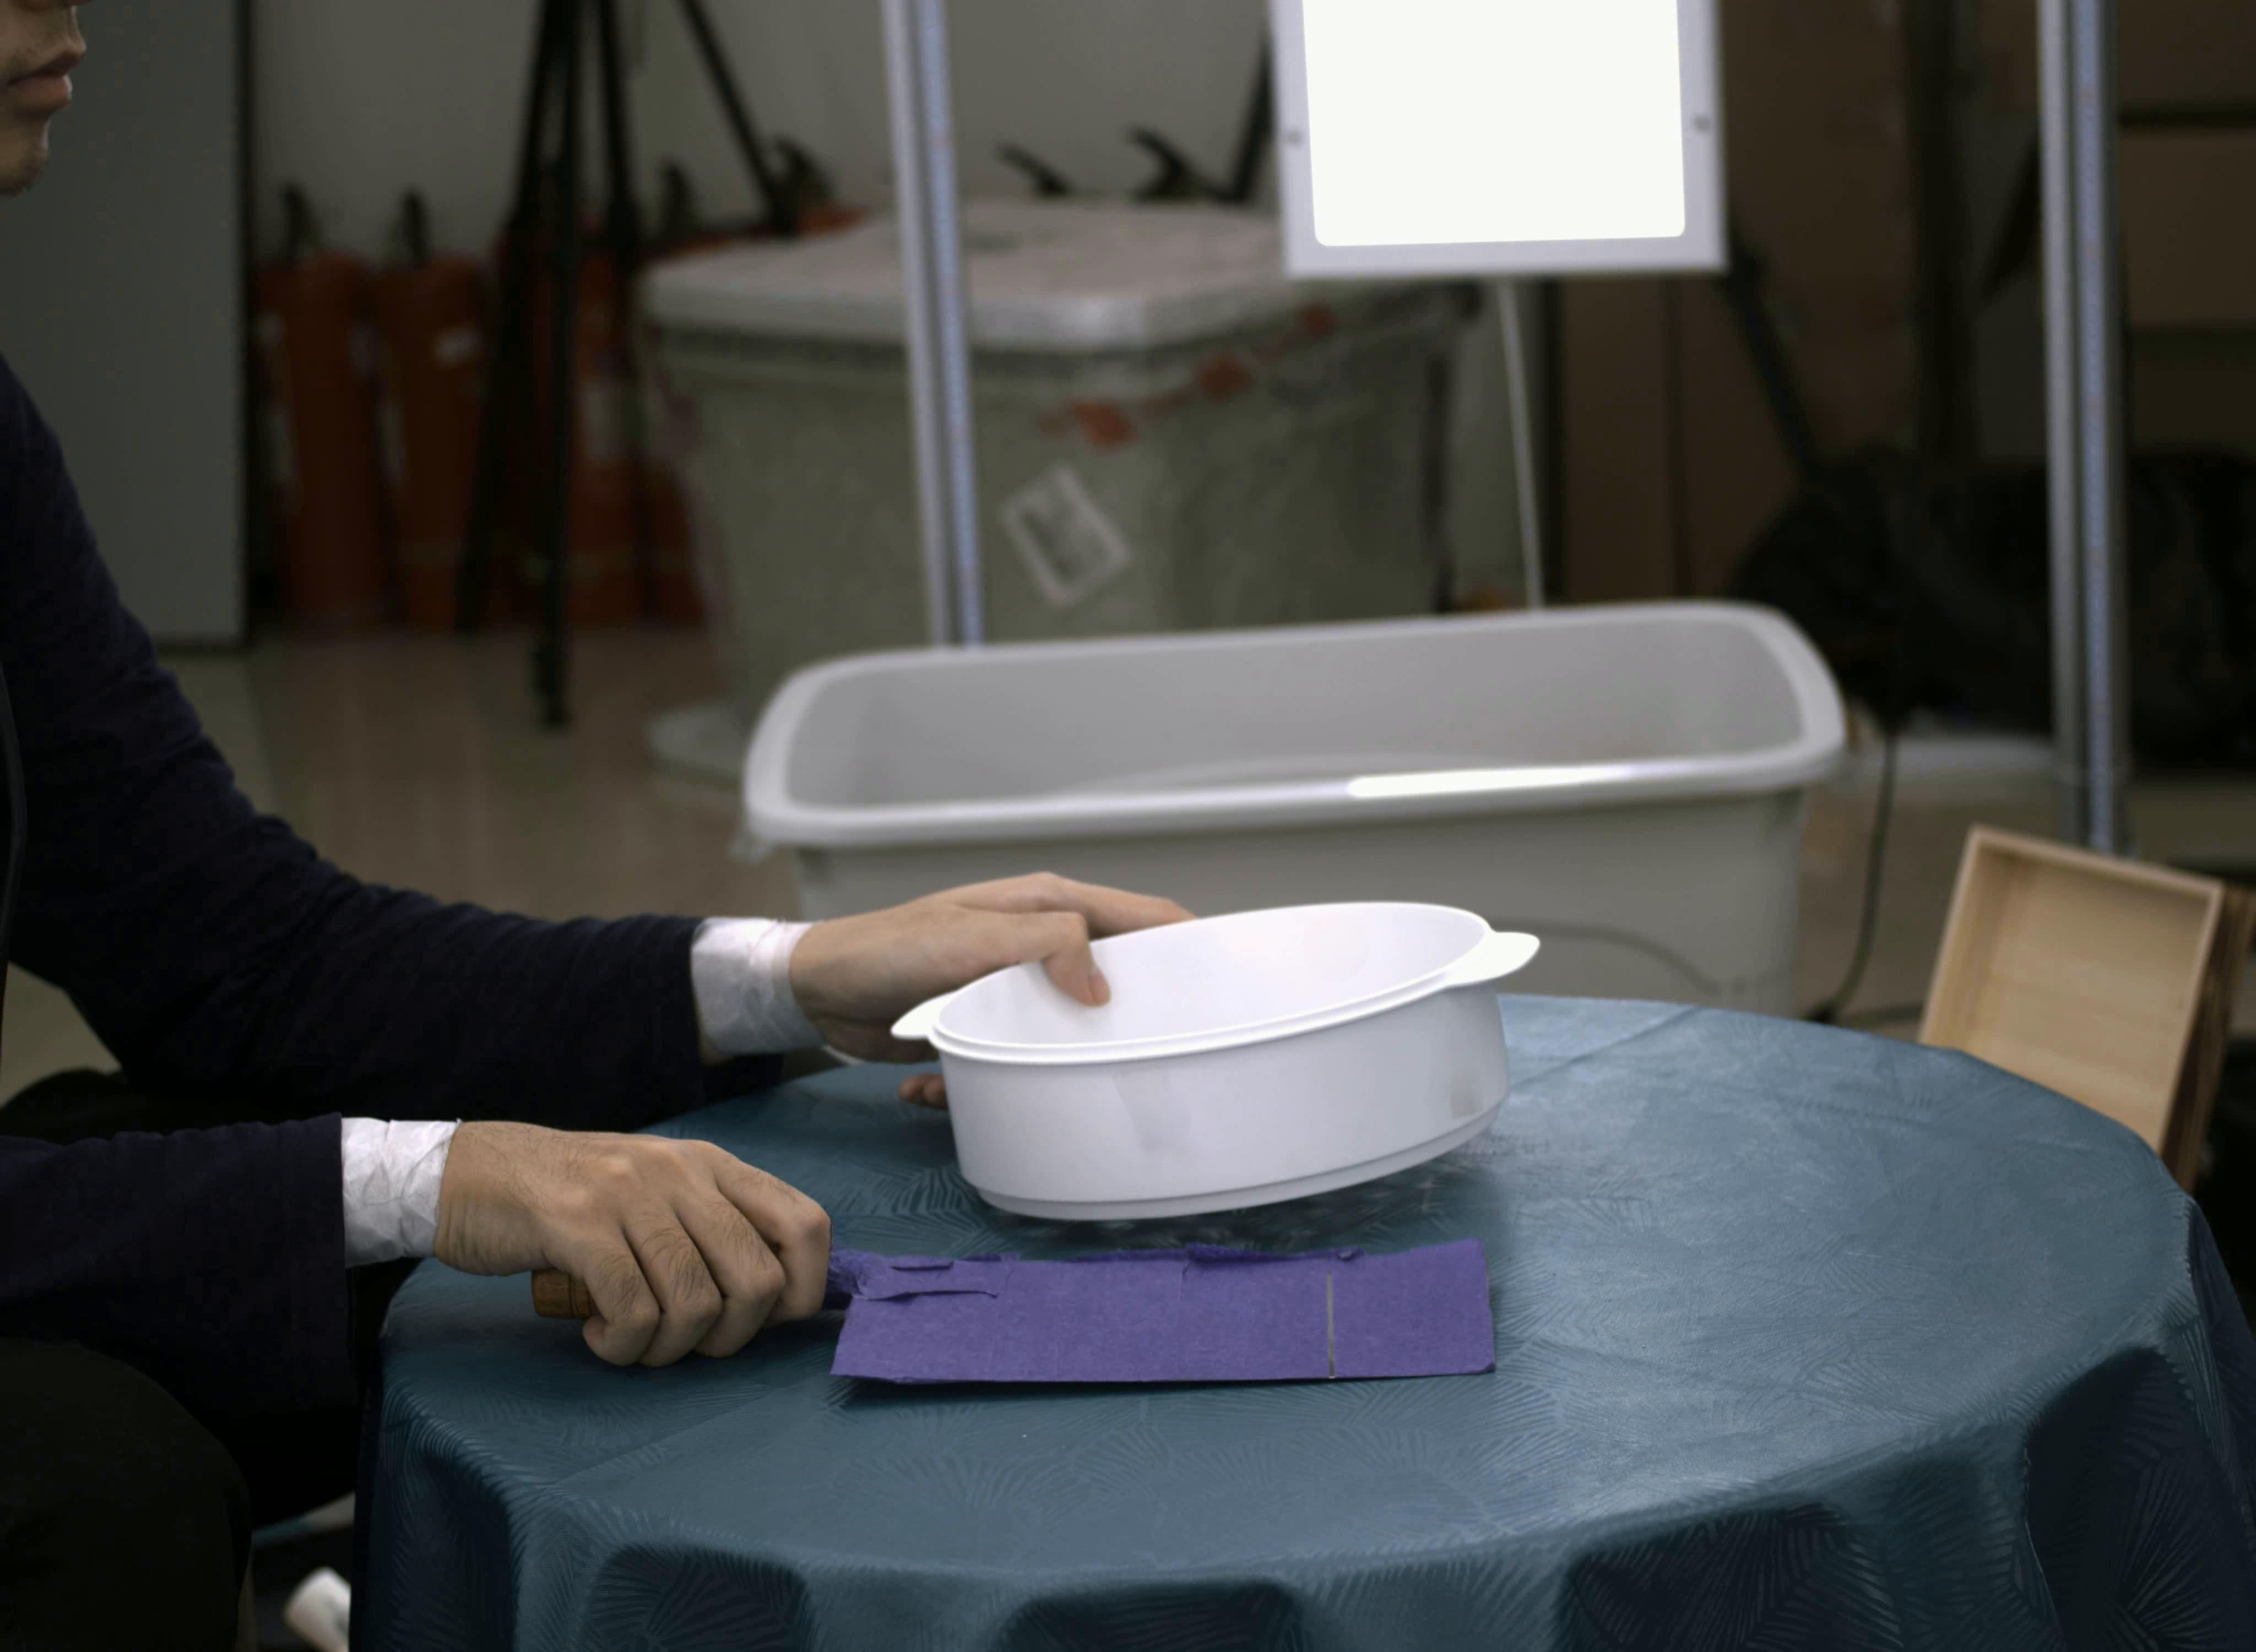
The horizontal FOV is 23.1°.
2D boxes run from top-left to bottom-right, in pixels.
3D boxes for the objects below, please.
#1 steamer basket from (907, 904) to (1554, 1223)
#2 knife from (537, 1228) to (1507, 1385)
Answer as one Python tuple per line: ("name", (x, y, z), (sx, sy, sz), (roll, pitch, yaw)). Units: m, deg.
("steamer basket", (0.040, 0.083, 1.901), (0.234, 0.069, 0.198), (-9, 8, 21))
("knife", (-0.037, 0.152, 1.750), (0.316, 0.032, 0.103), (-3, 17, 7))
